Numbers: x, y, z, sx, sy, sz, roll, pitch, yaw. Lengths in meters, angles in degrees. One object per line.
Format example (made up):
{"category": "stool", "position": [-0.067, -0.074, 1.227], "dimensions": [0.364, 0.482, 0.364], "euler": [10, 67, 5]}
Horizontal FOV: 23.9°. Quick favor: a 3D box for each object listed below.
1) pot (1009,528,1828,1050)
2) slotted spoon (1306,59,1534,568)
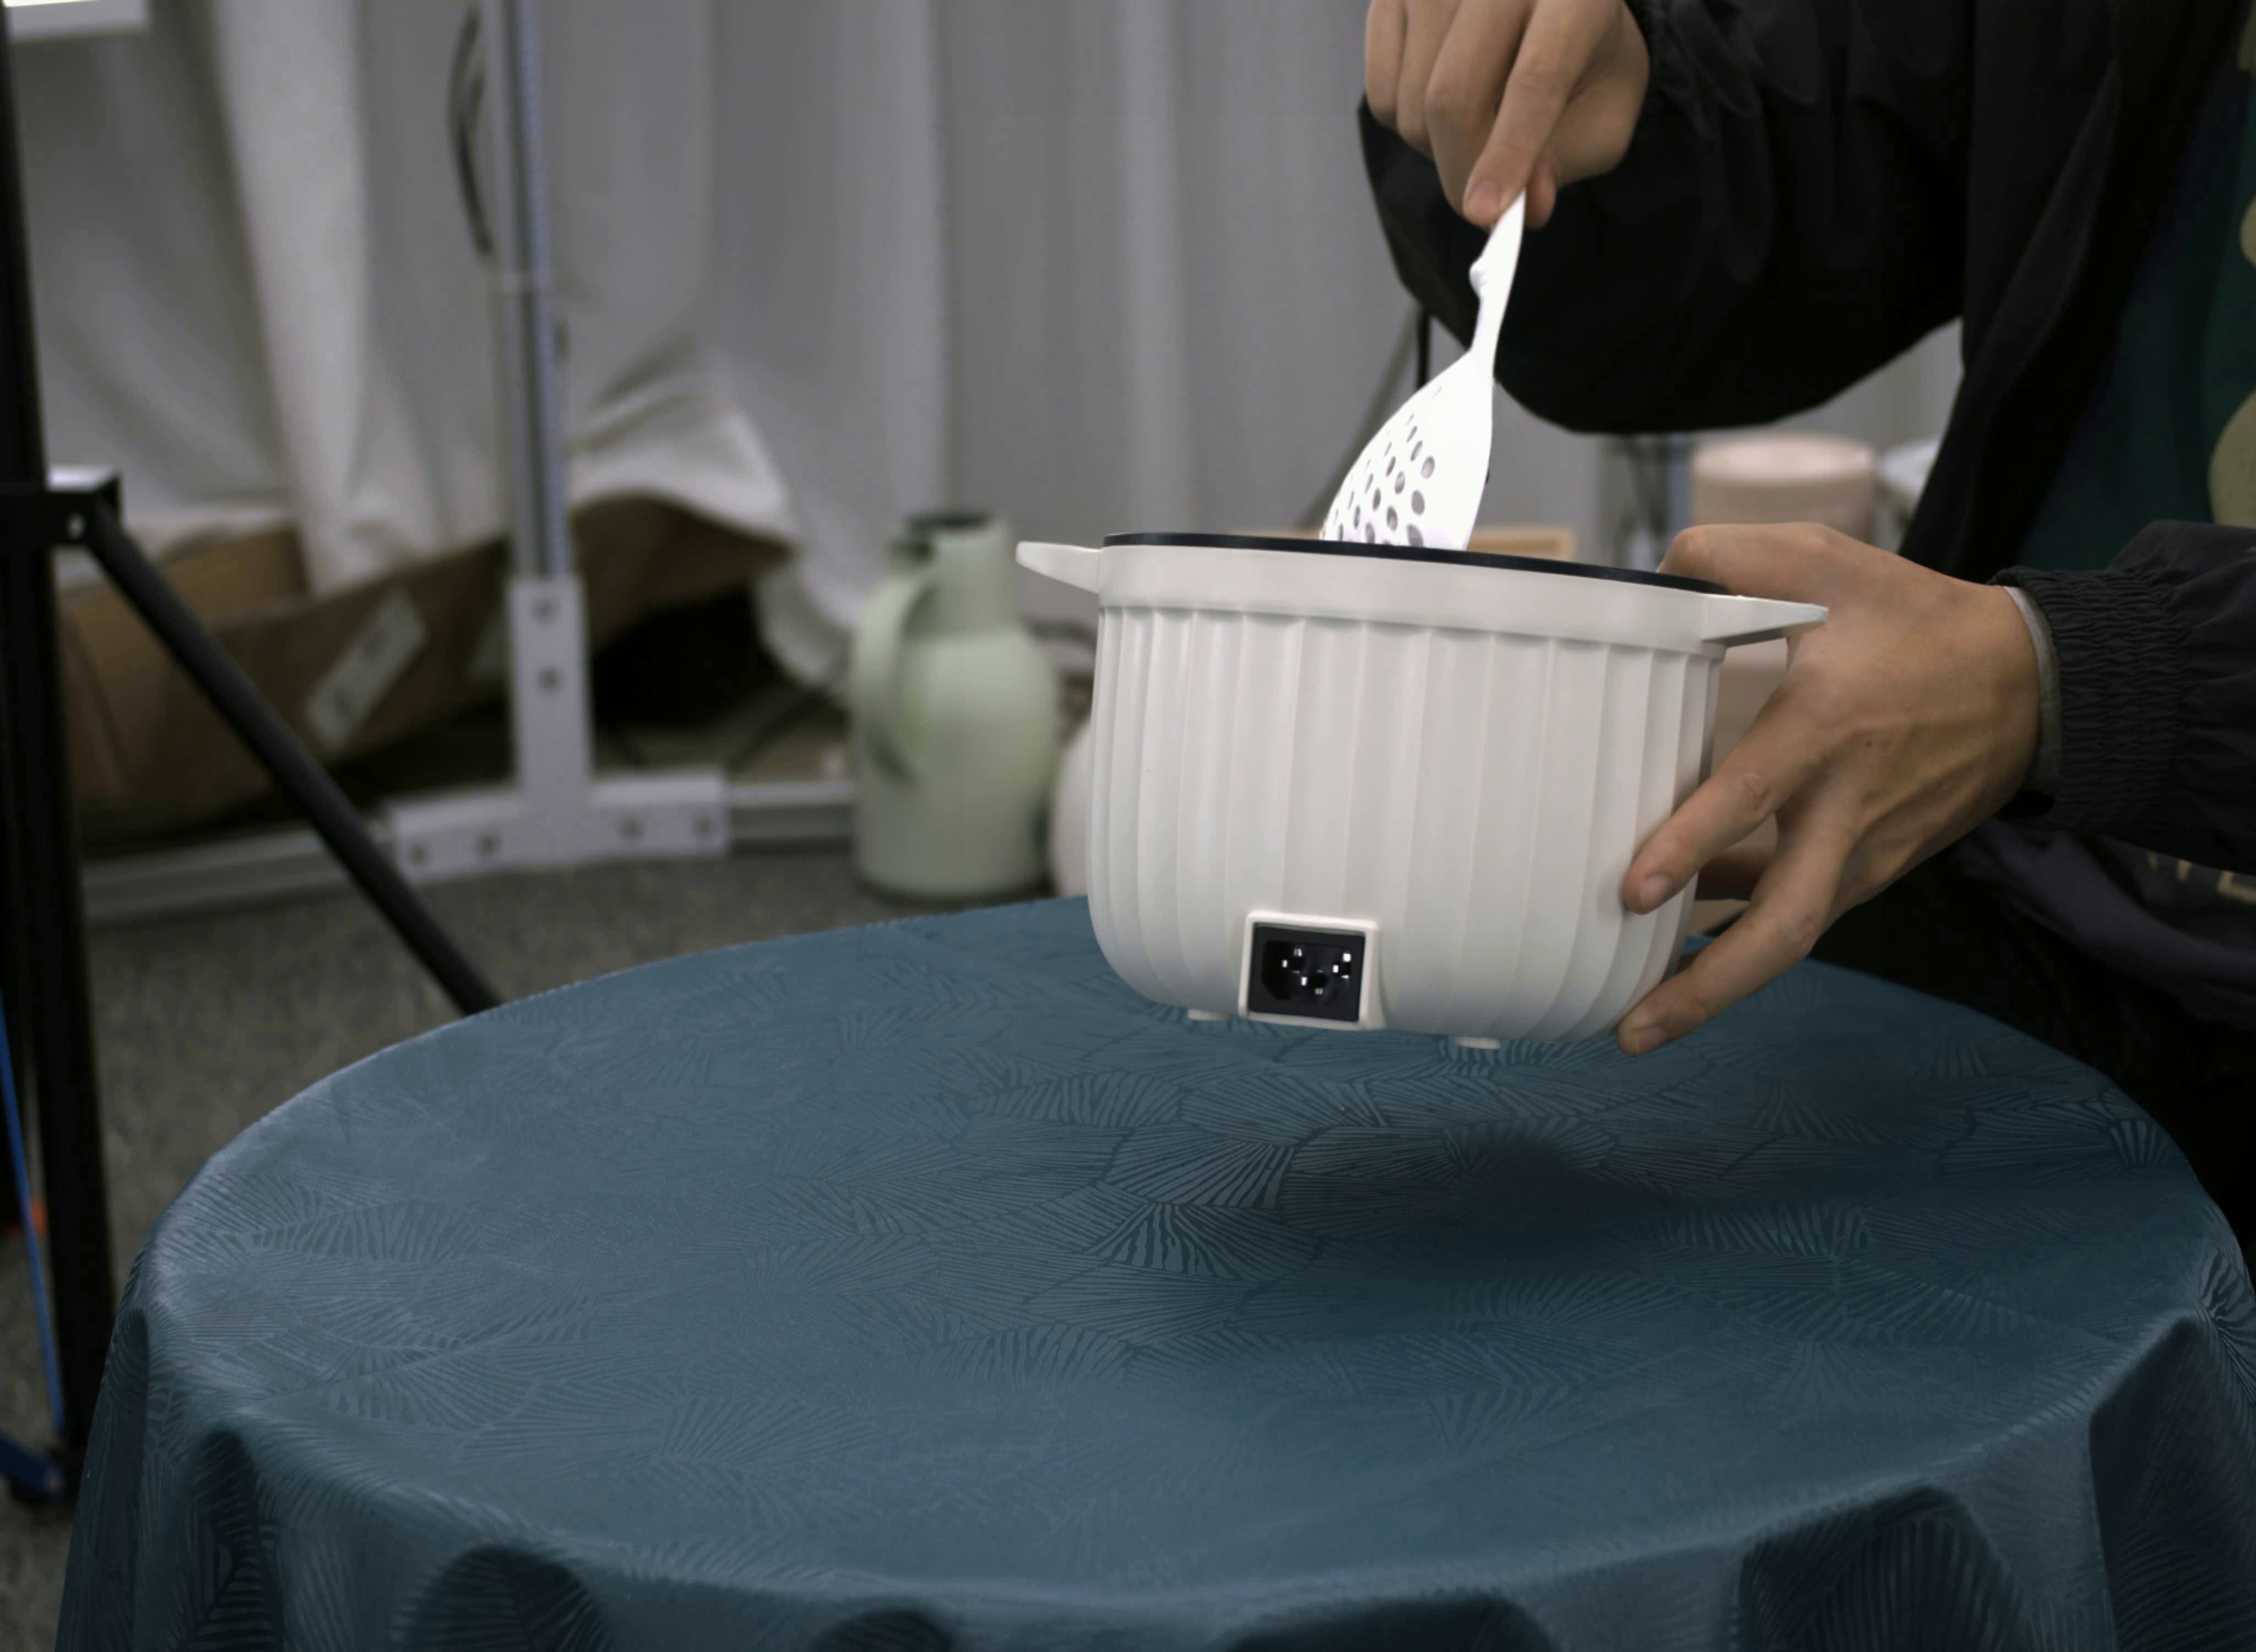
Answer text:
{"category": "pot", "position": [0.076, -0.010, 1.531], "dimensions": [0.243, 0.143, 0.188], "euler": [6, 4, 17]}
{"category": "slotted spoon", "position": [0.098, -0.136, 1.615], "dimensions": [0.050, 0.137, 0.347], "euler": [17, 37, 6]}
